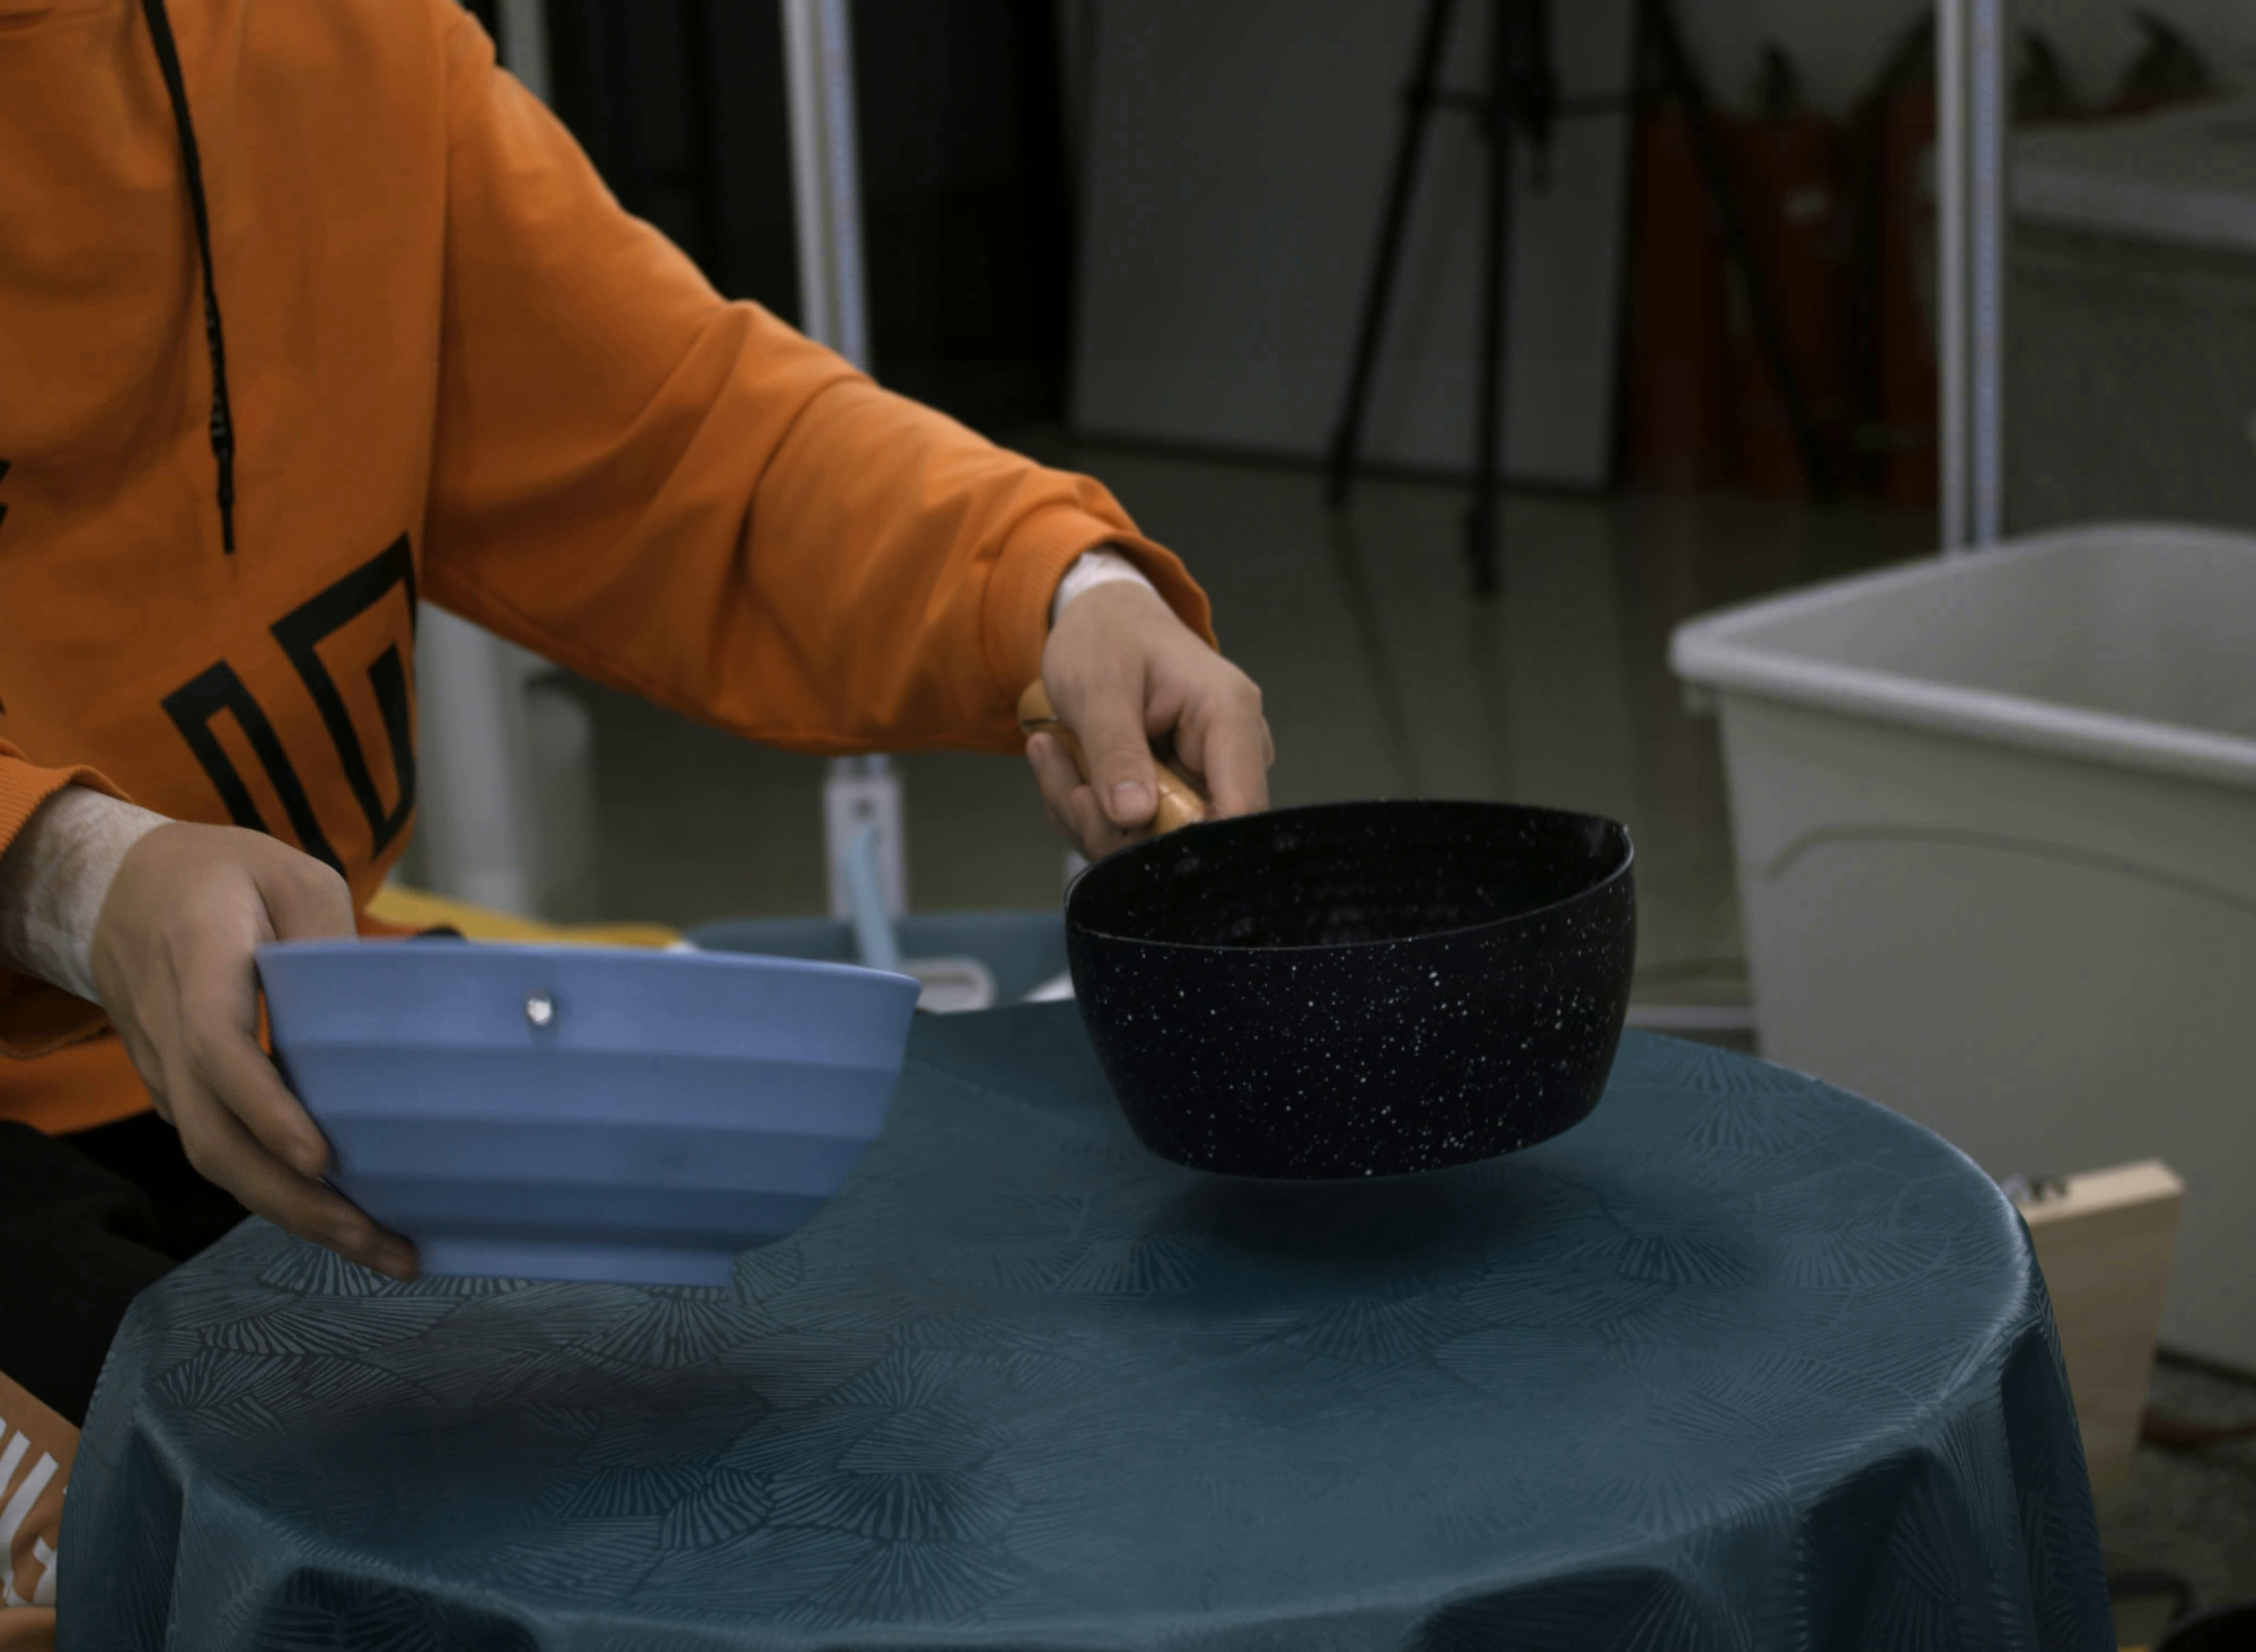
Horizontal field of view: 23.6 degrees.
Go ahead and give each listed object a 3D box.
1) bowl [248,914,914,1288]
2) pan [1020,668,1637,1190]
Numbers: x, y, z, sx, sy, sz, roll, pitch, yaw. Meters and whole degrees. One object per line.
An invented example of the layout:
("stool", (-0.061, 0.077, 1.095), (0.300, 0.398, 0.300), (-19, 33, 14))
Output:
("bowl", (-0.162, 0.084, 1.578), (0.194, 0.096, 0.196), (4, -7, 0))
("pan", (0.040, 0.028, 1.797), (0.203, 0.109, 0.346), (-13, 16, -22))
